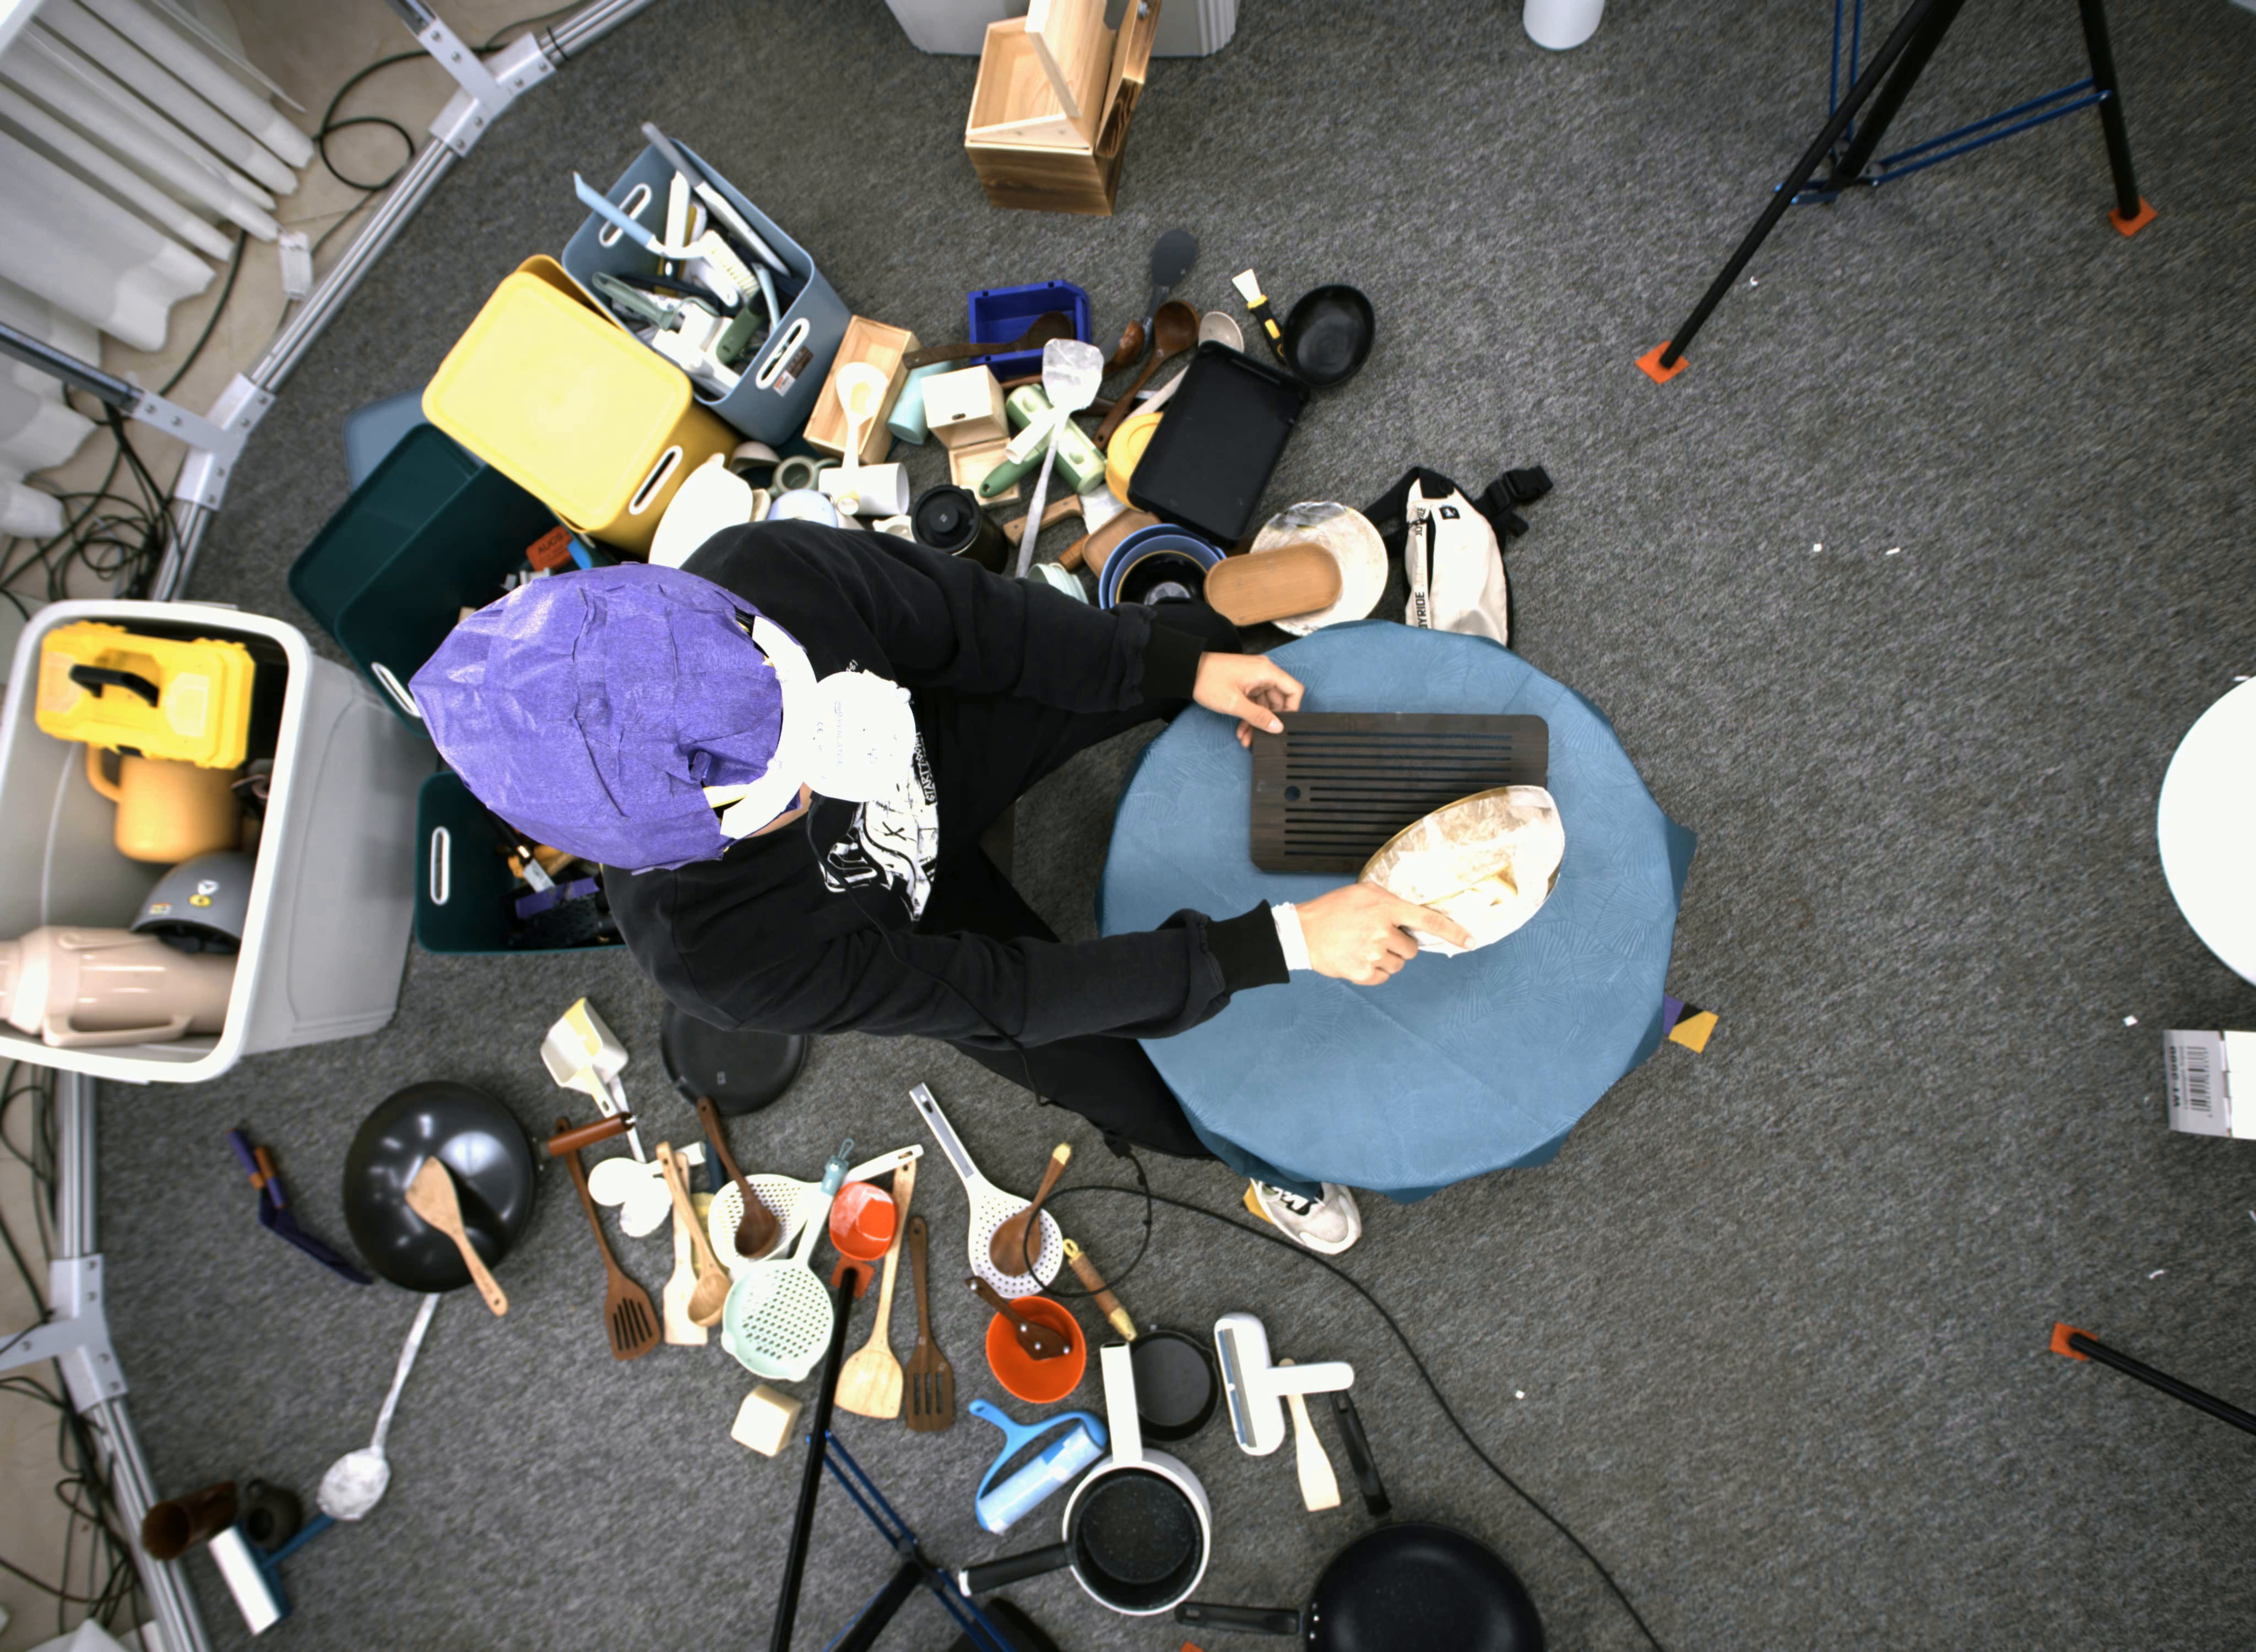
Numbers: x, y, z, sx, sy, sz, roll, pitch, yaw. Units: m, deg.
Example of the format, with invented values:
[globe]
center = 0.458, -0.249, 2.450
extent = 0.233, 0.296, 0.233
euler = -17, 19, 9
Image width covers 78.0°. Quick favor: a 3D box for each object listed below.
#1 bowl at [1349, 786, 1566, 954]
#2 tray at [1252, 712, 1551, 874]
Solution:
[bowl]
center = 0.322, 0.055, 1.296
extent = 0.216, 0.211, 0.095
euler = -31, 106, 5
[tray]
center = 0.285, -0.035, 1.447
extent = 0.307, 0.018, 0.171
euler = 1, 96, 11
